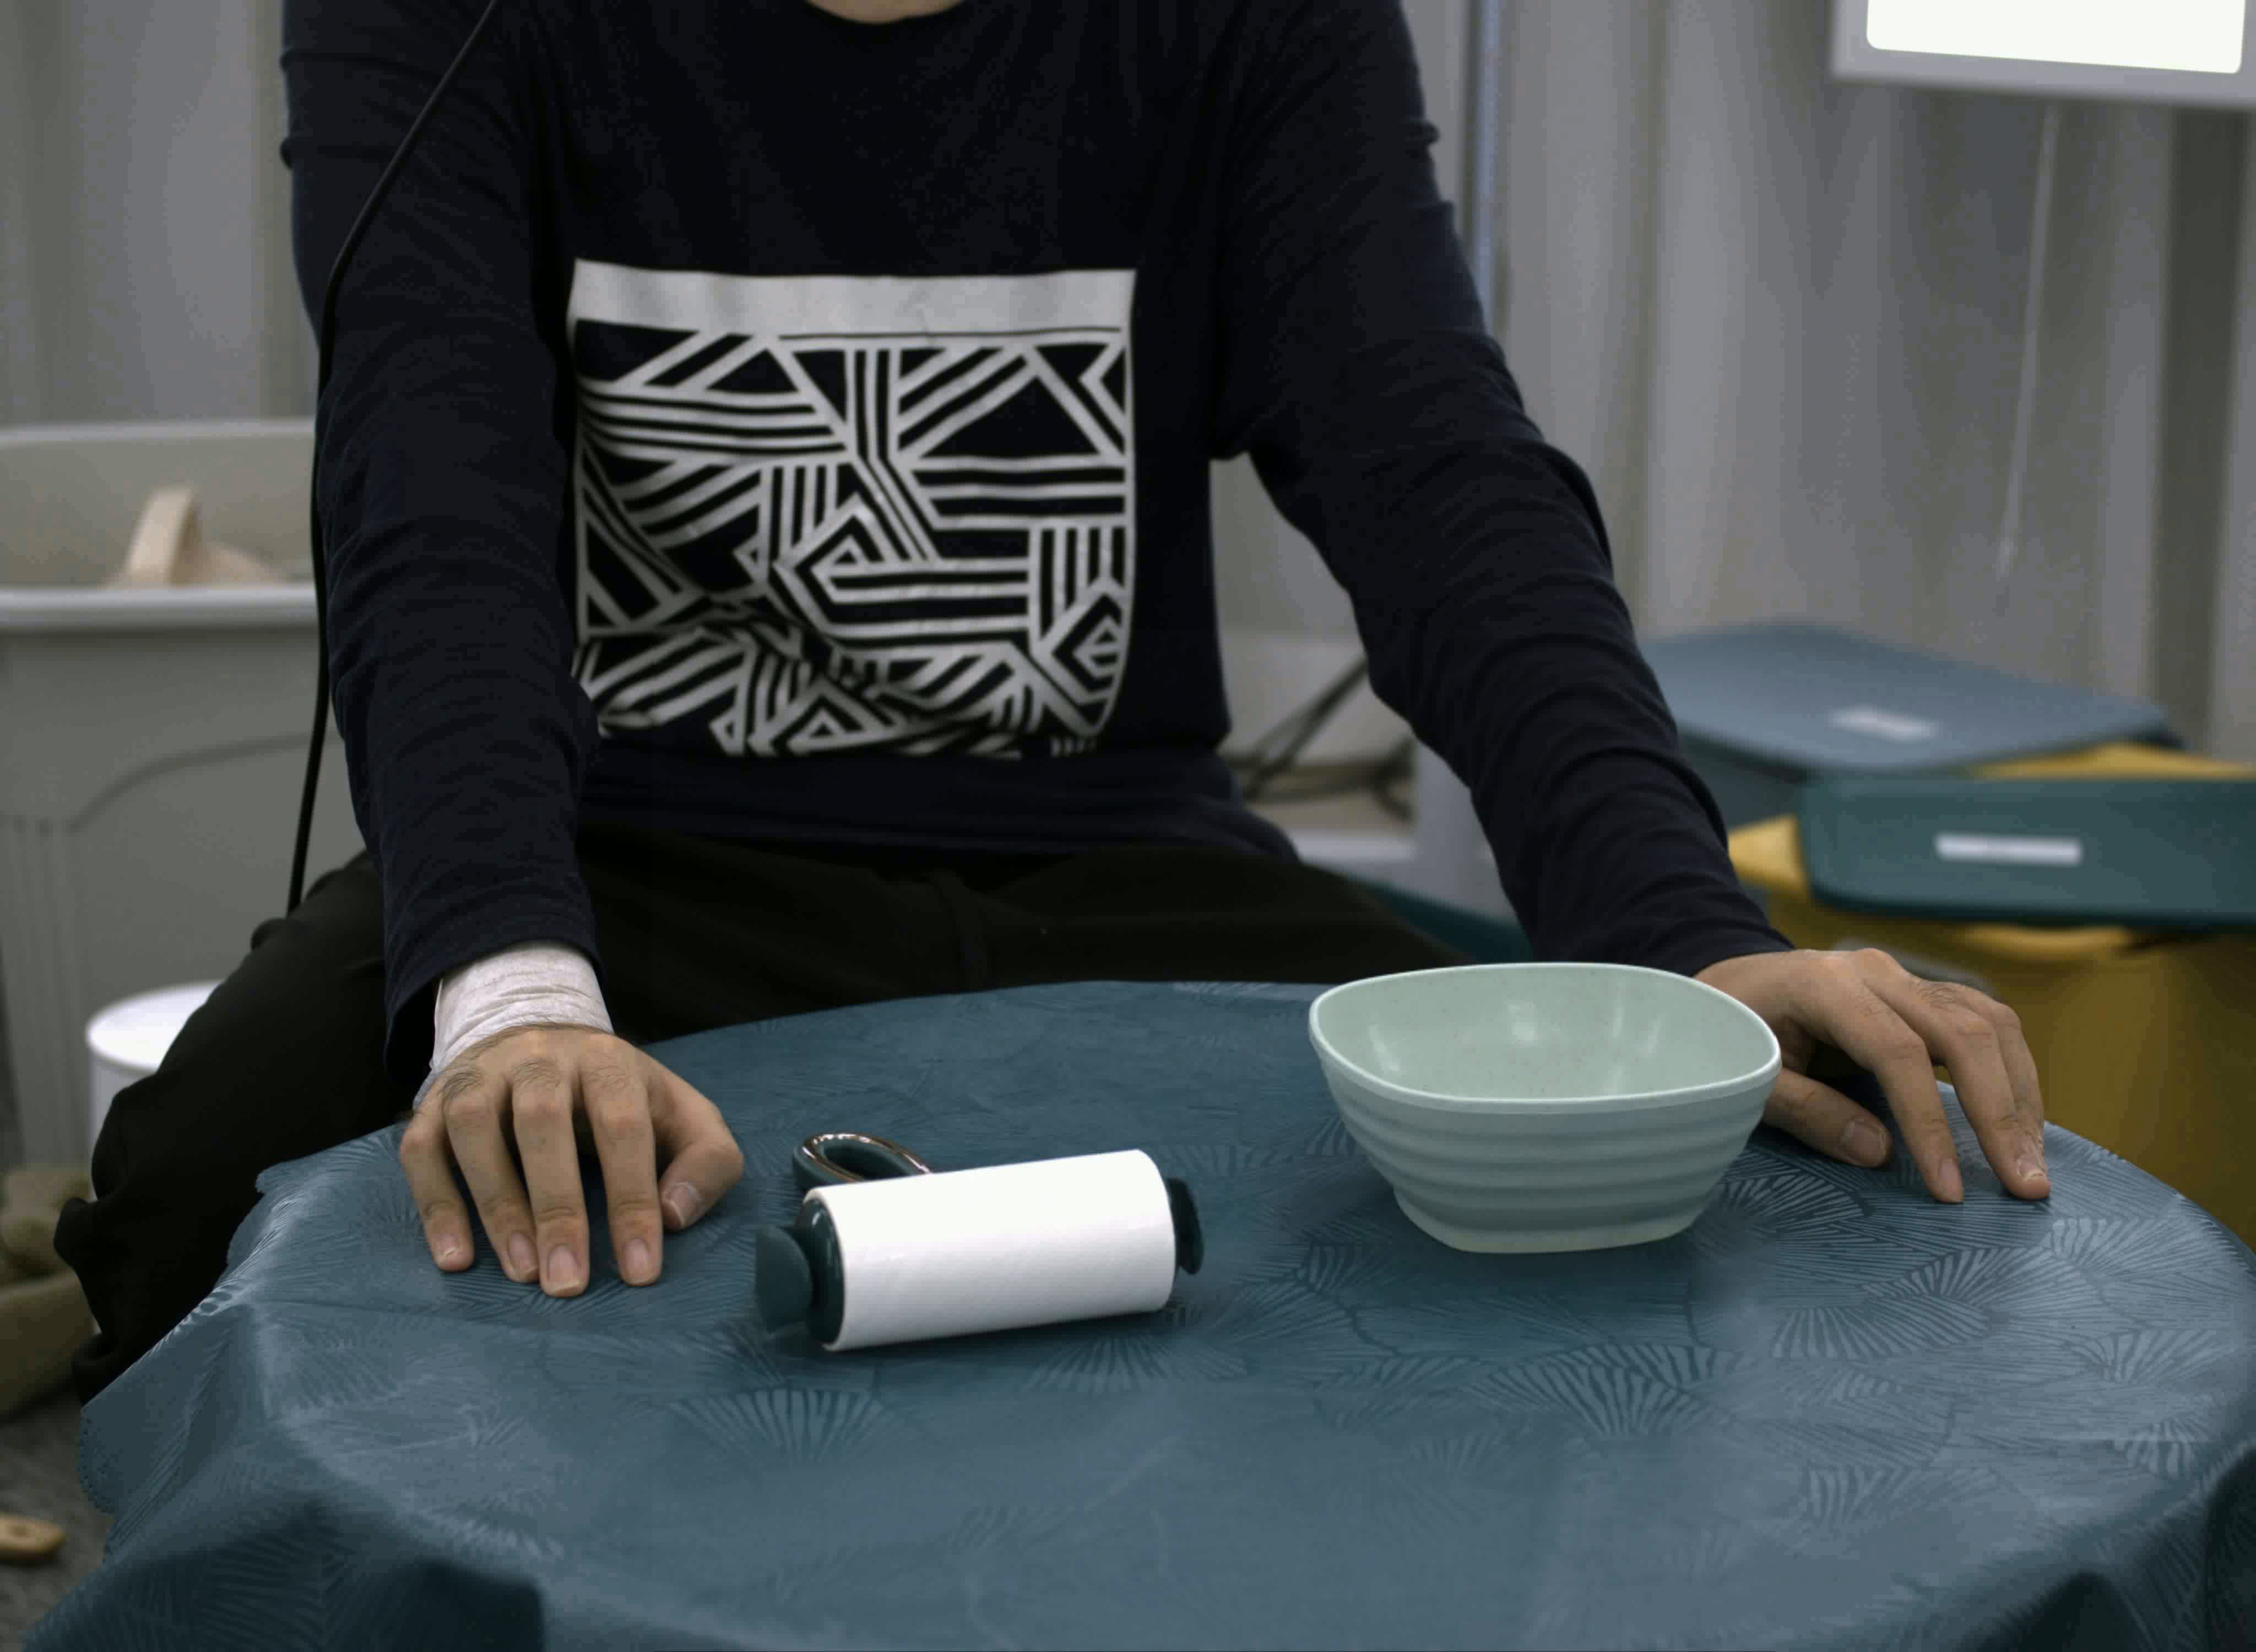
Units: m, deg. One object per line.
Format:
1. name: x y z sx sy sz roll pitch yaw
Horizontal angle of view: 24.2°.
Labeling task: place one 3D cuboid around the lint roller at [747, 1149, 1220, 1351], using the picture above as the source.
1. lint roller: -0.065 0.108 1.563 0.135 0.048 0.178 -5 13 -21

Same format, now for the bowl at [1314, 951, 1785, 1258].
1. bowl: 0.127 0.089 1.608 0.151 0.059 0.150 0 18 1
